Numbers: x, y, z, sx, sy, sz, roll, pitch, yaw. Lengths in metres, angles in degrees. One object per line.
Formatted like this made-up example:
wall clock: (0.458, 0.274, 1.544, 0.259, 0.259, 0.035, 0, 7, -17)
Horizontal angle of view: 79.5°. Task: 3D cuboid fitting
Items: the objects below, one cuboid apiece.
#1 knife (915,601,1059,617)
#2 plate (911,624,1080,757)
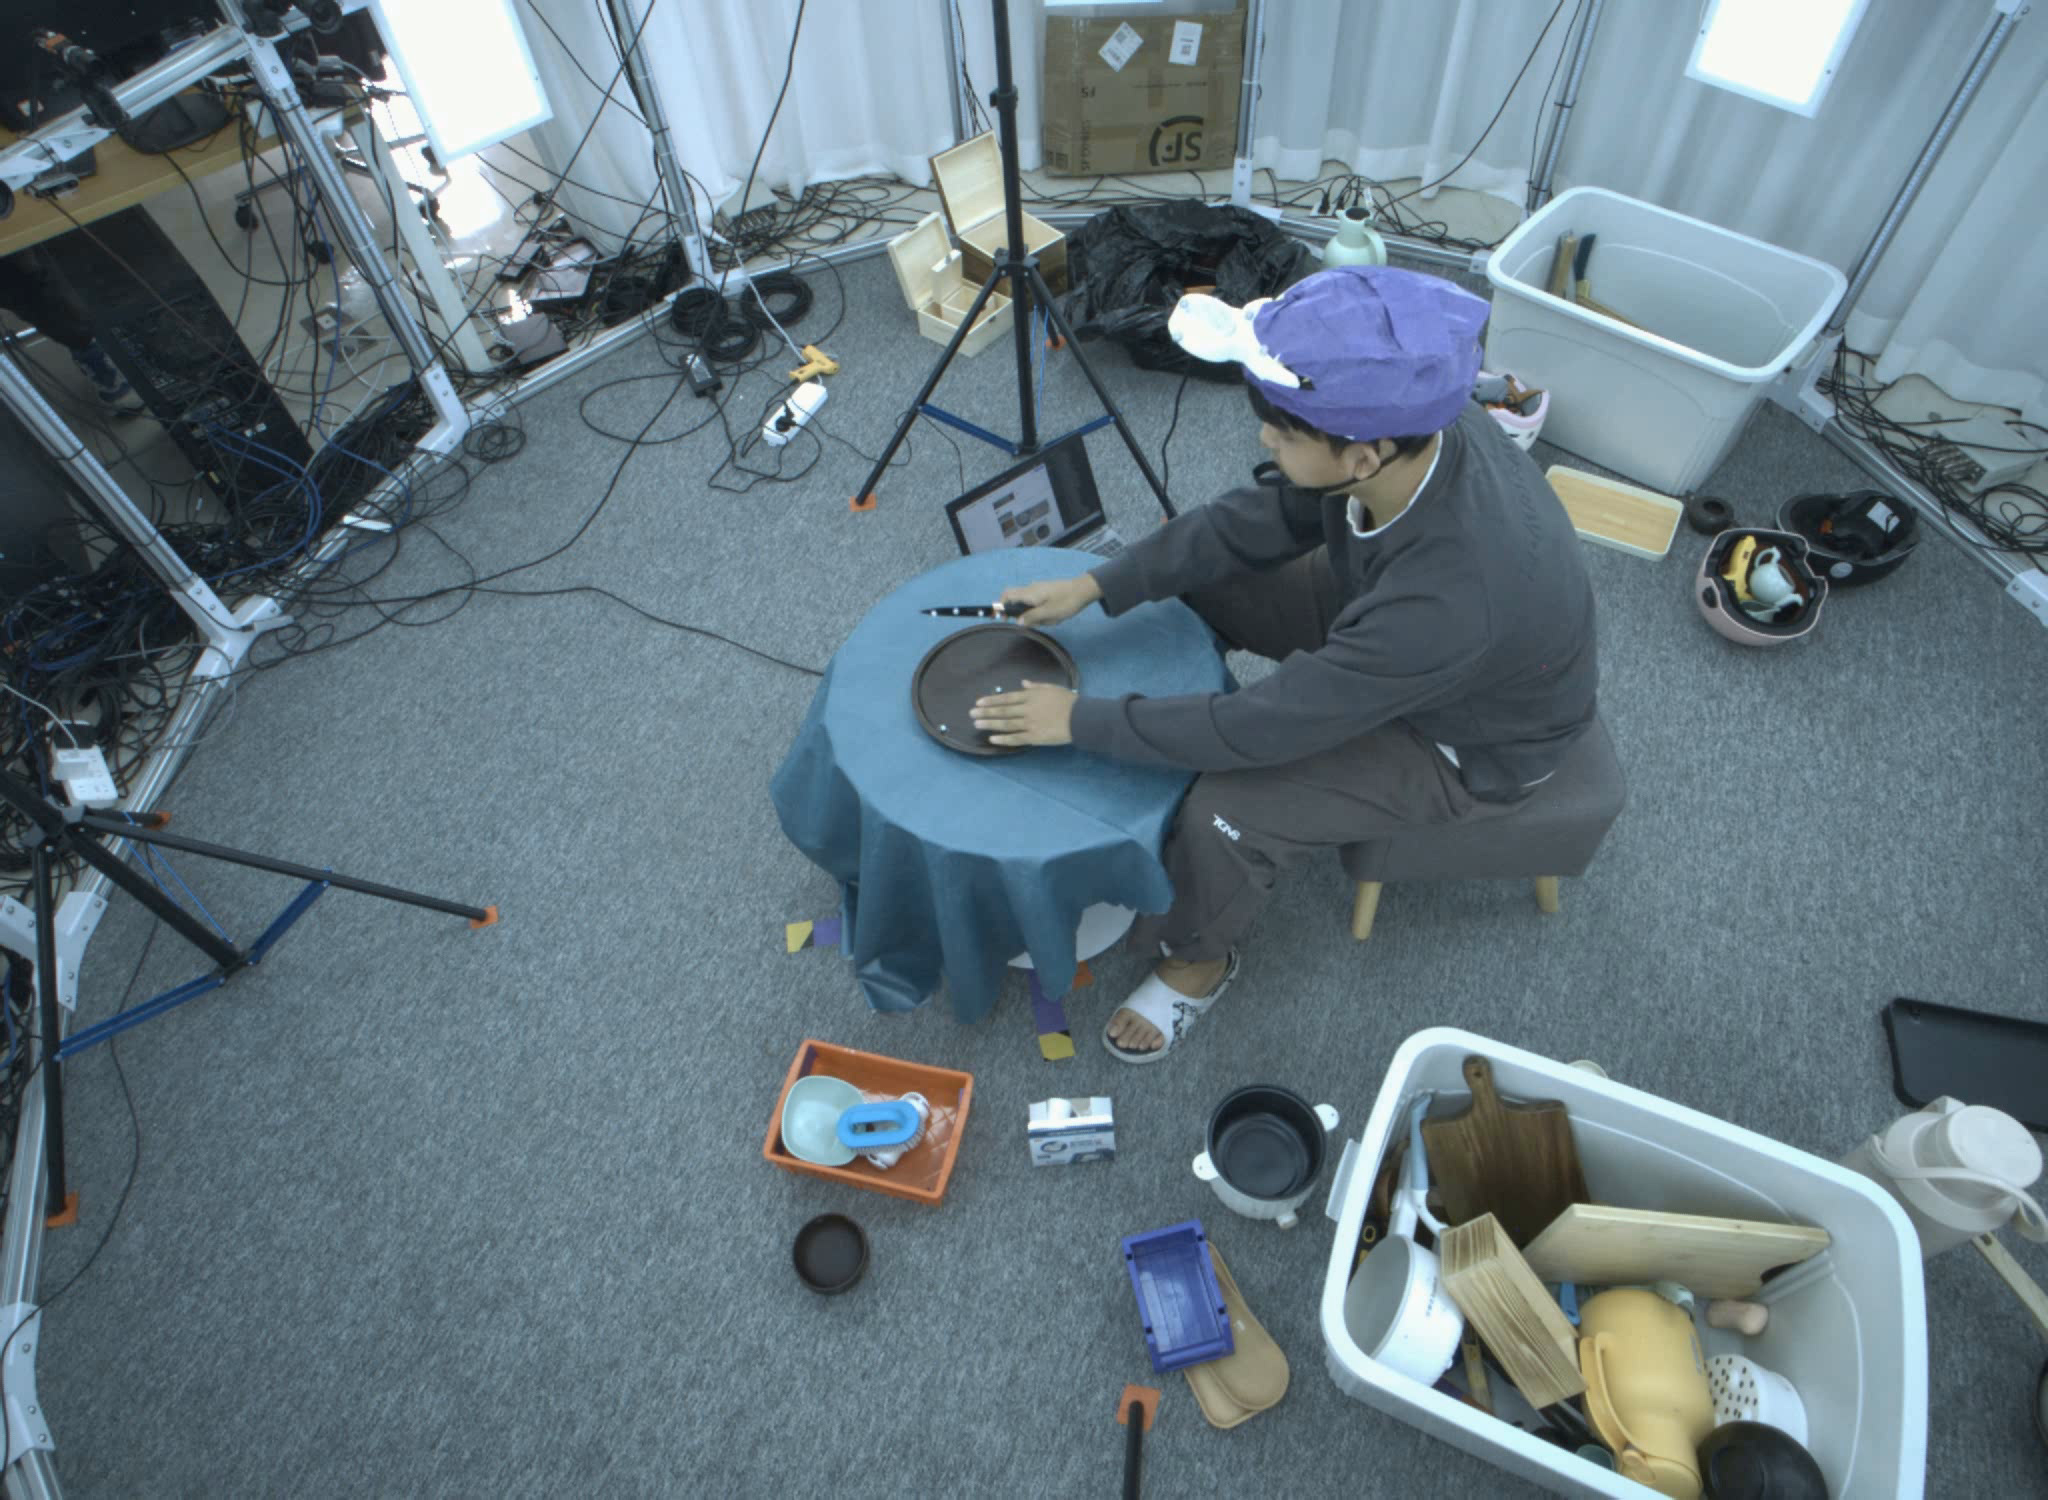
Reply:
knife: (-0.054, -0.210, 1.835, 0.229, 0.026, 0.017, -5, 53, -23)
plate: (-0.043, -0.091, 1.839, 0.255, 0.029, 0.252, 1, 54, 0)
